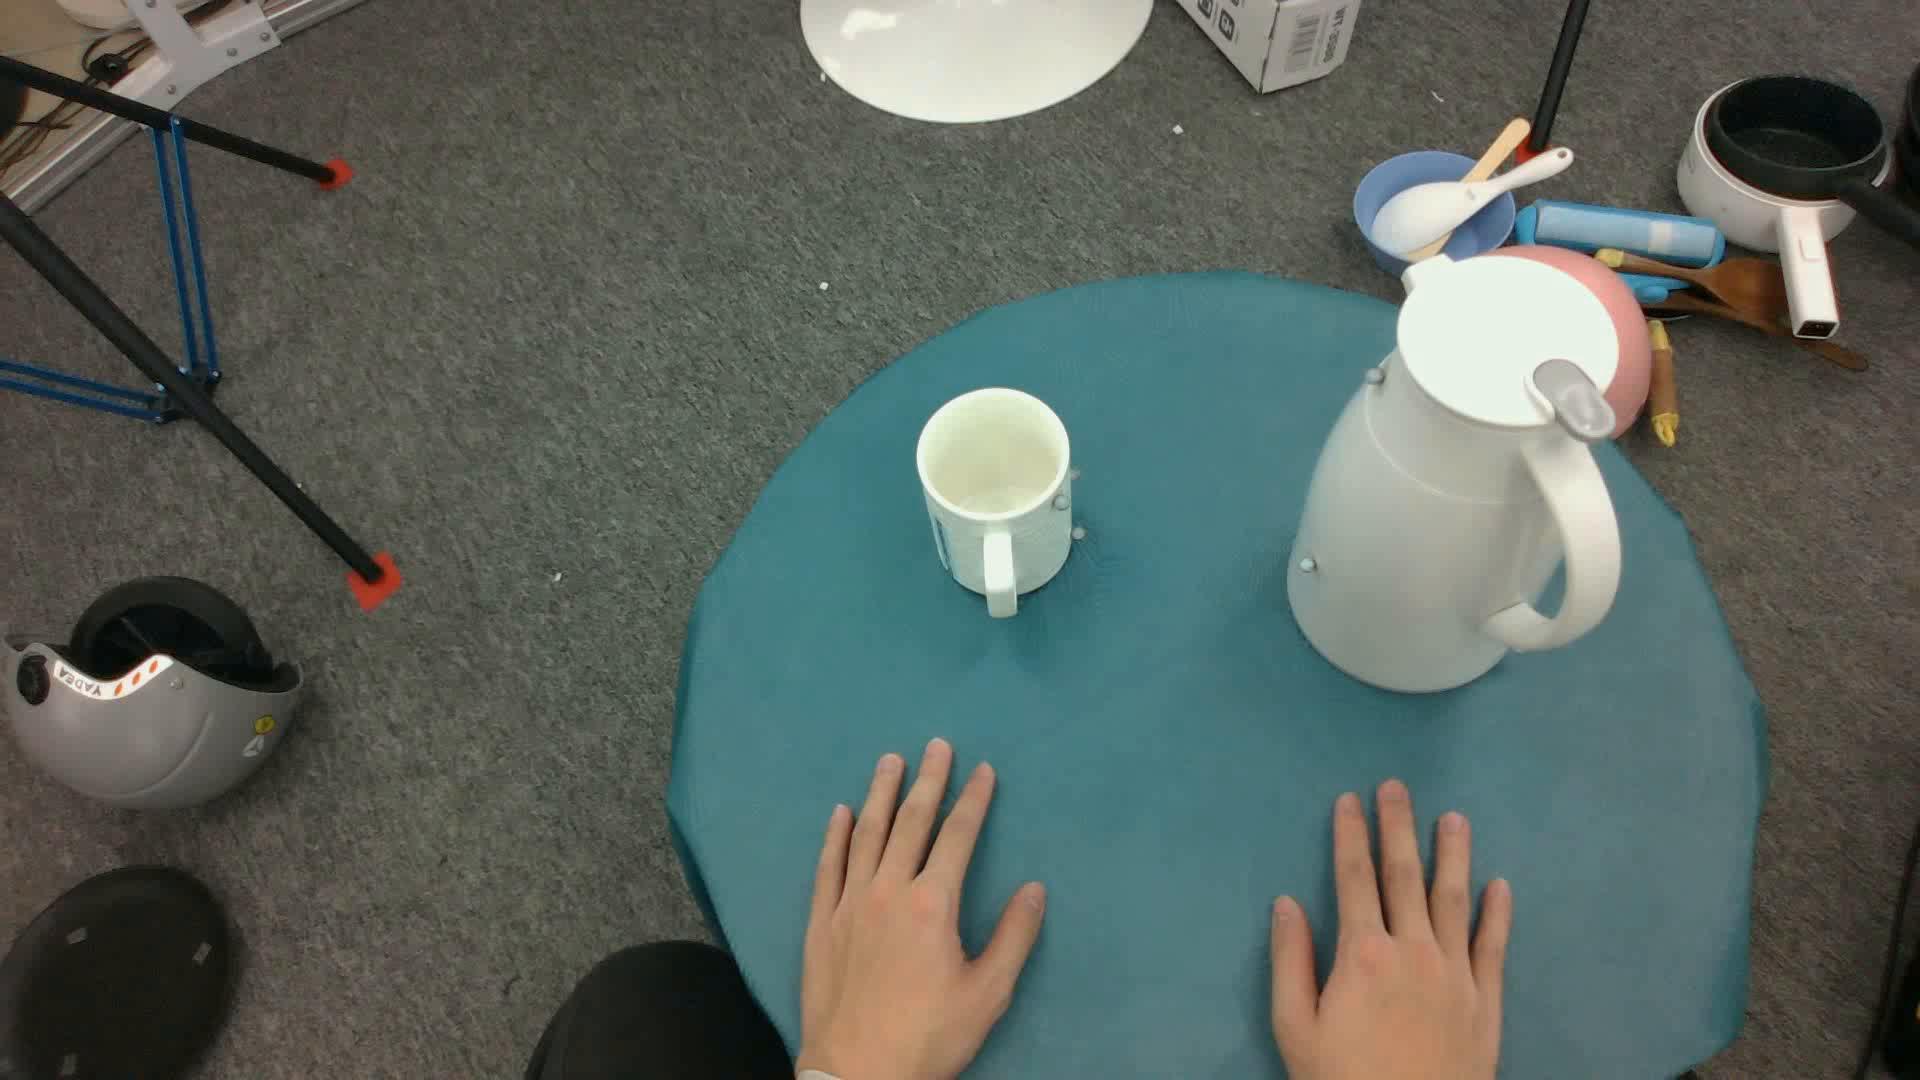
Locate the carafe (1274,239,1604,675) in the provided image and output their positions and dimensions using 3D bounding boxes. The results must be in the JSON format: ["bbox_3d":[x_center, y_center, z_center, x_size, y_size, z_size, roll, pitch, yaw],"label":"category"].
[{"bbox_3d":[0.250,-0.026,0.693,0.132,0.247,0.168,-23,62,-8],"label":"carafe"}]

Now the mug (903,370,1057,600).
[{"bbox_3d":[0.015,-0.020,0.792,0.085,0.101,0.119,-5,59,2],"label":"mug"}]
